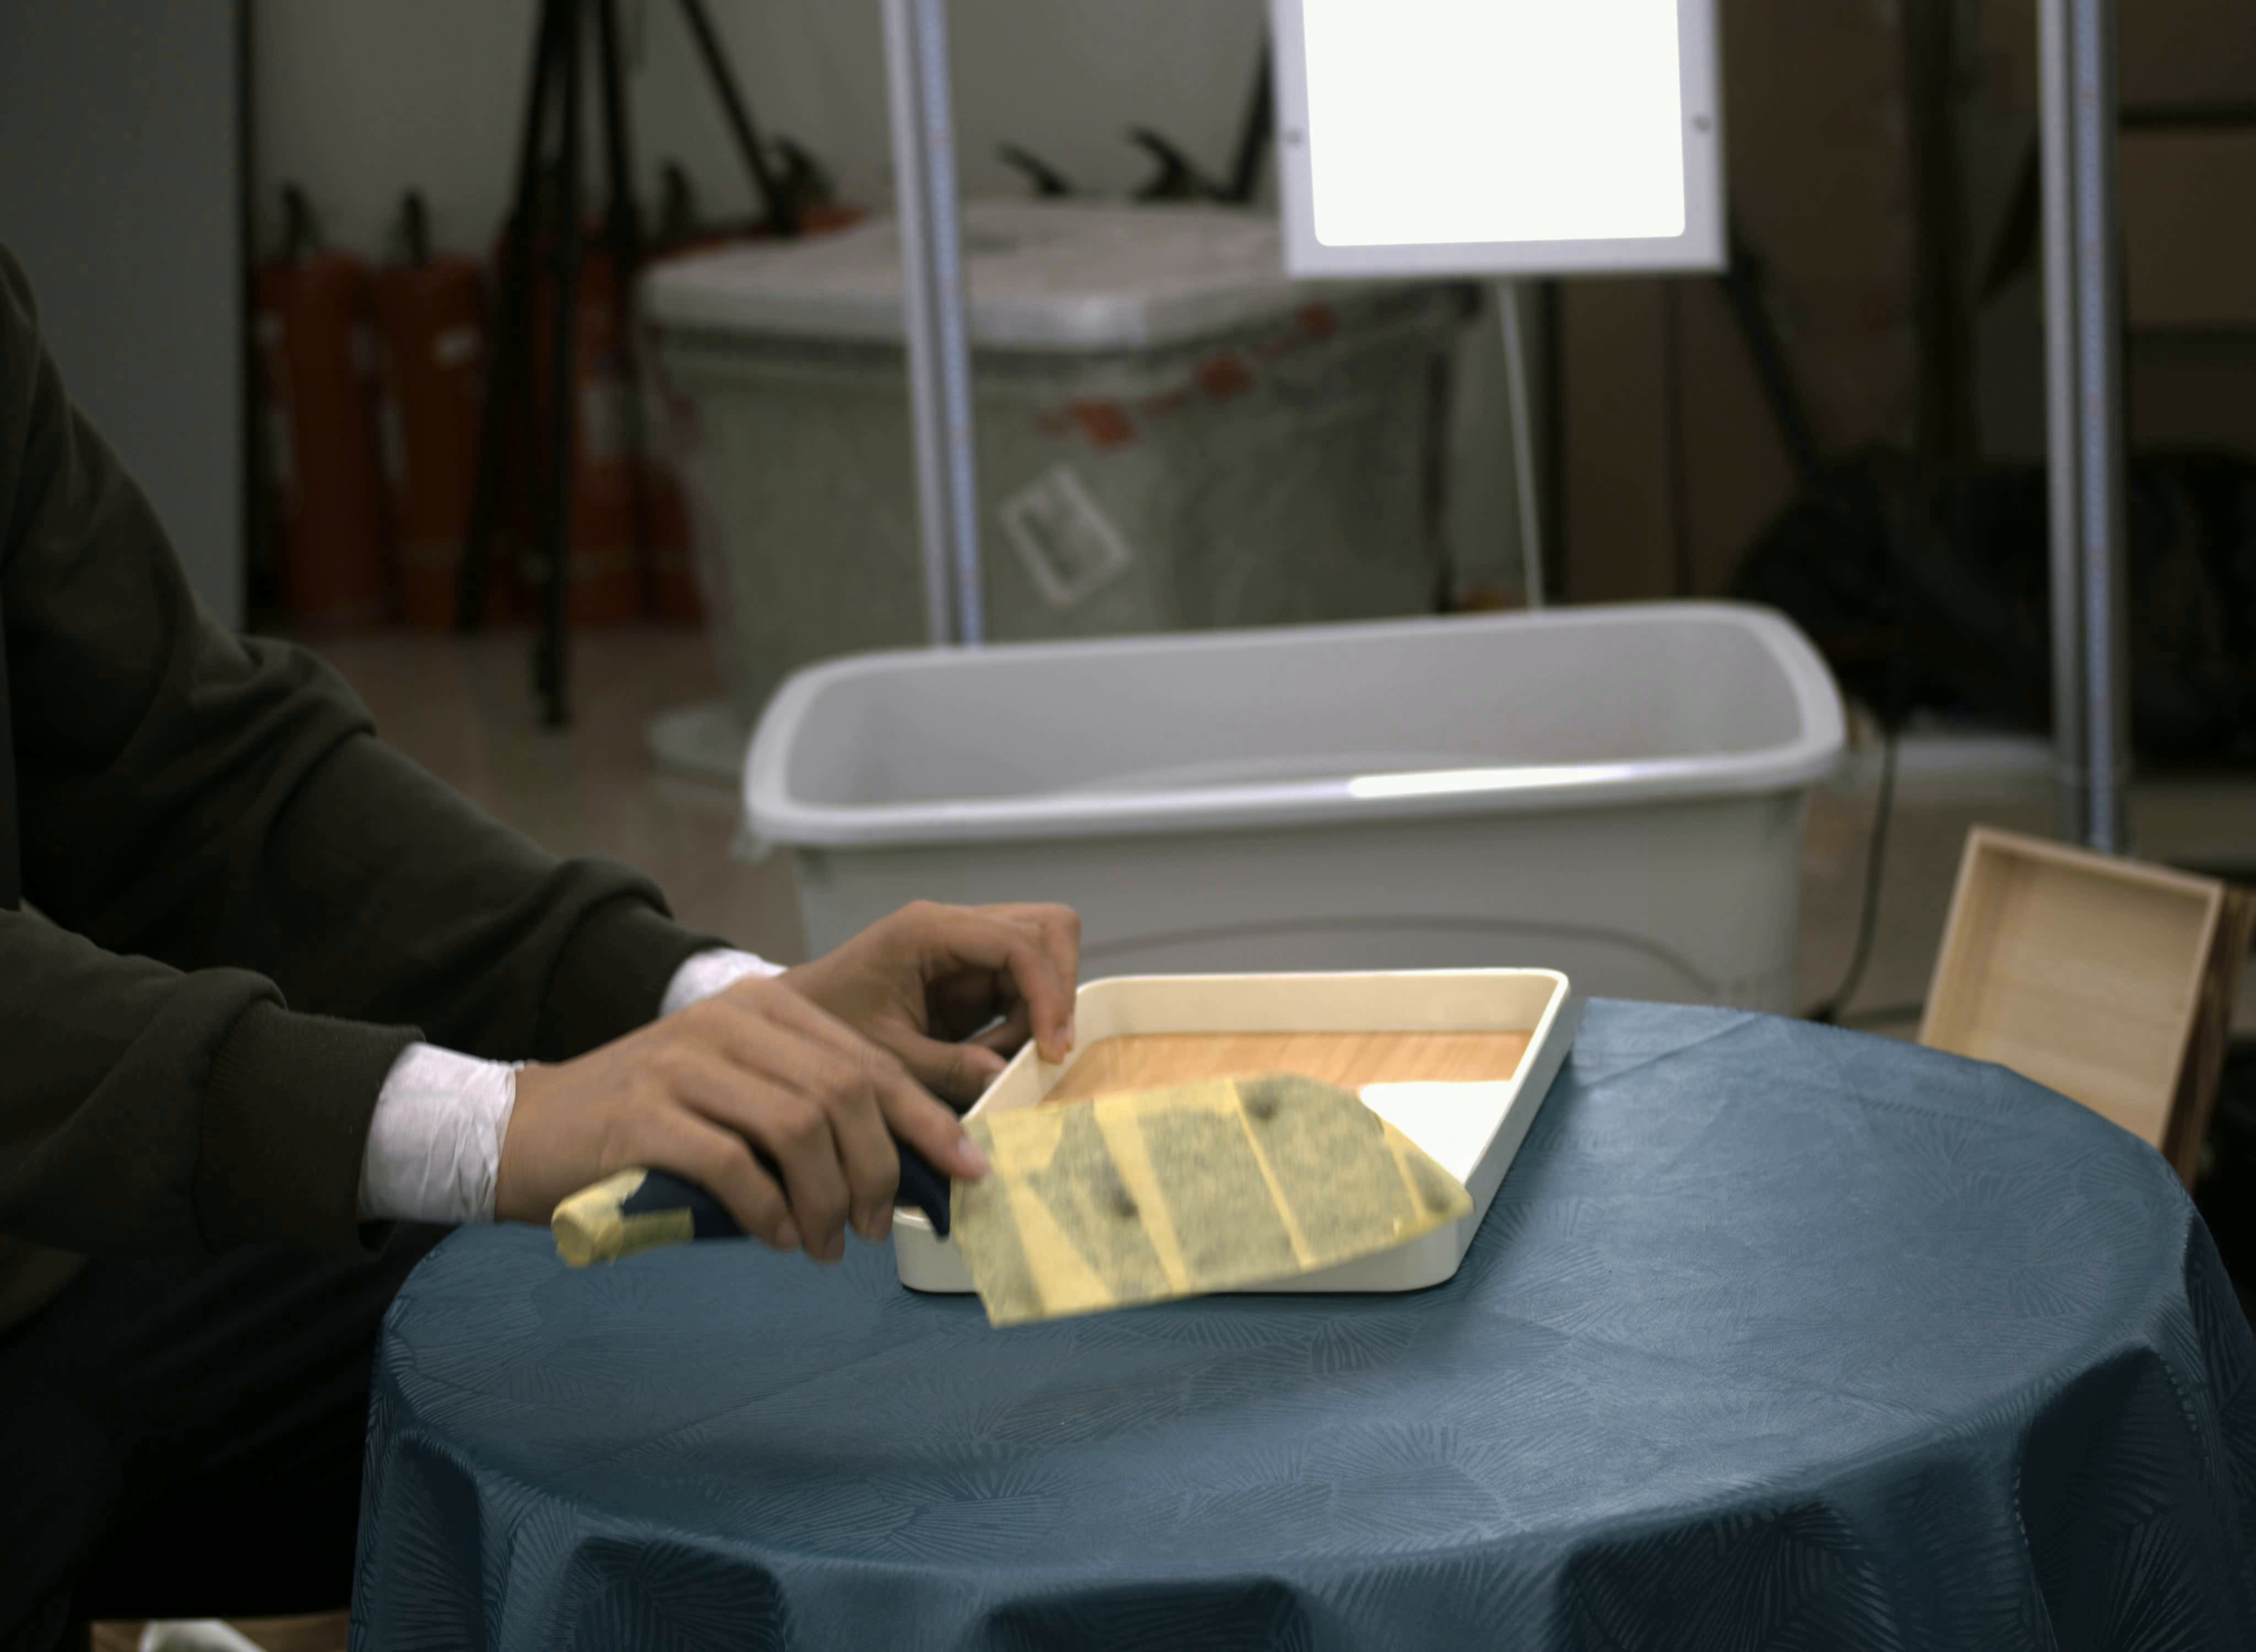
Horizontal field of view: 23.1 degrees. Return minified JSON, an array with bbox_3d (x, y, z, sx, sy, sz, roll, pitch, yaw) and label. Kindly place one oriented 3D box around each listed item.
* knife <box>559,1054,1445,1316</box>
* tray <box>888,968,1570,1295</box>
[{"bbox_3d":[-0.032,0.114,1.678,0.284,0.027,0.081,-7,54,-21],"label":"knife"},{"bbox_3d":[0.042,0.104,1.925,0.193,0.027,0.296,-3,13,15],"label":"tray"}]
